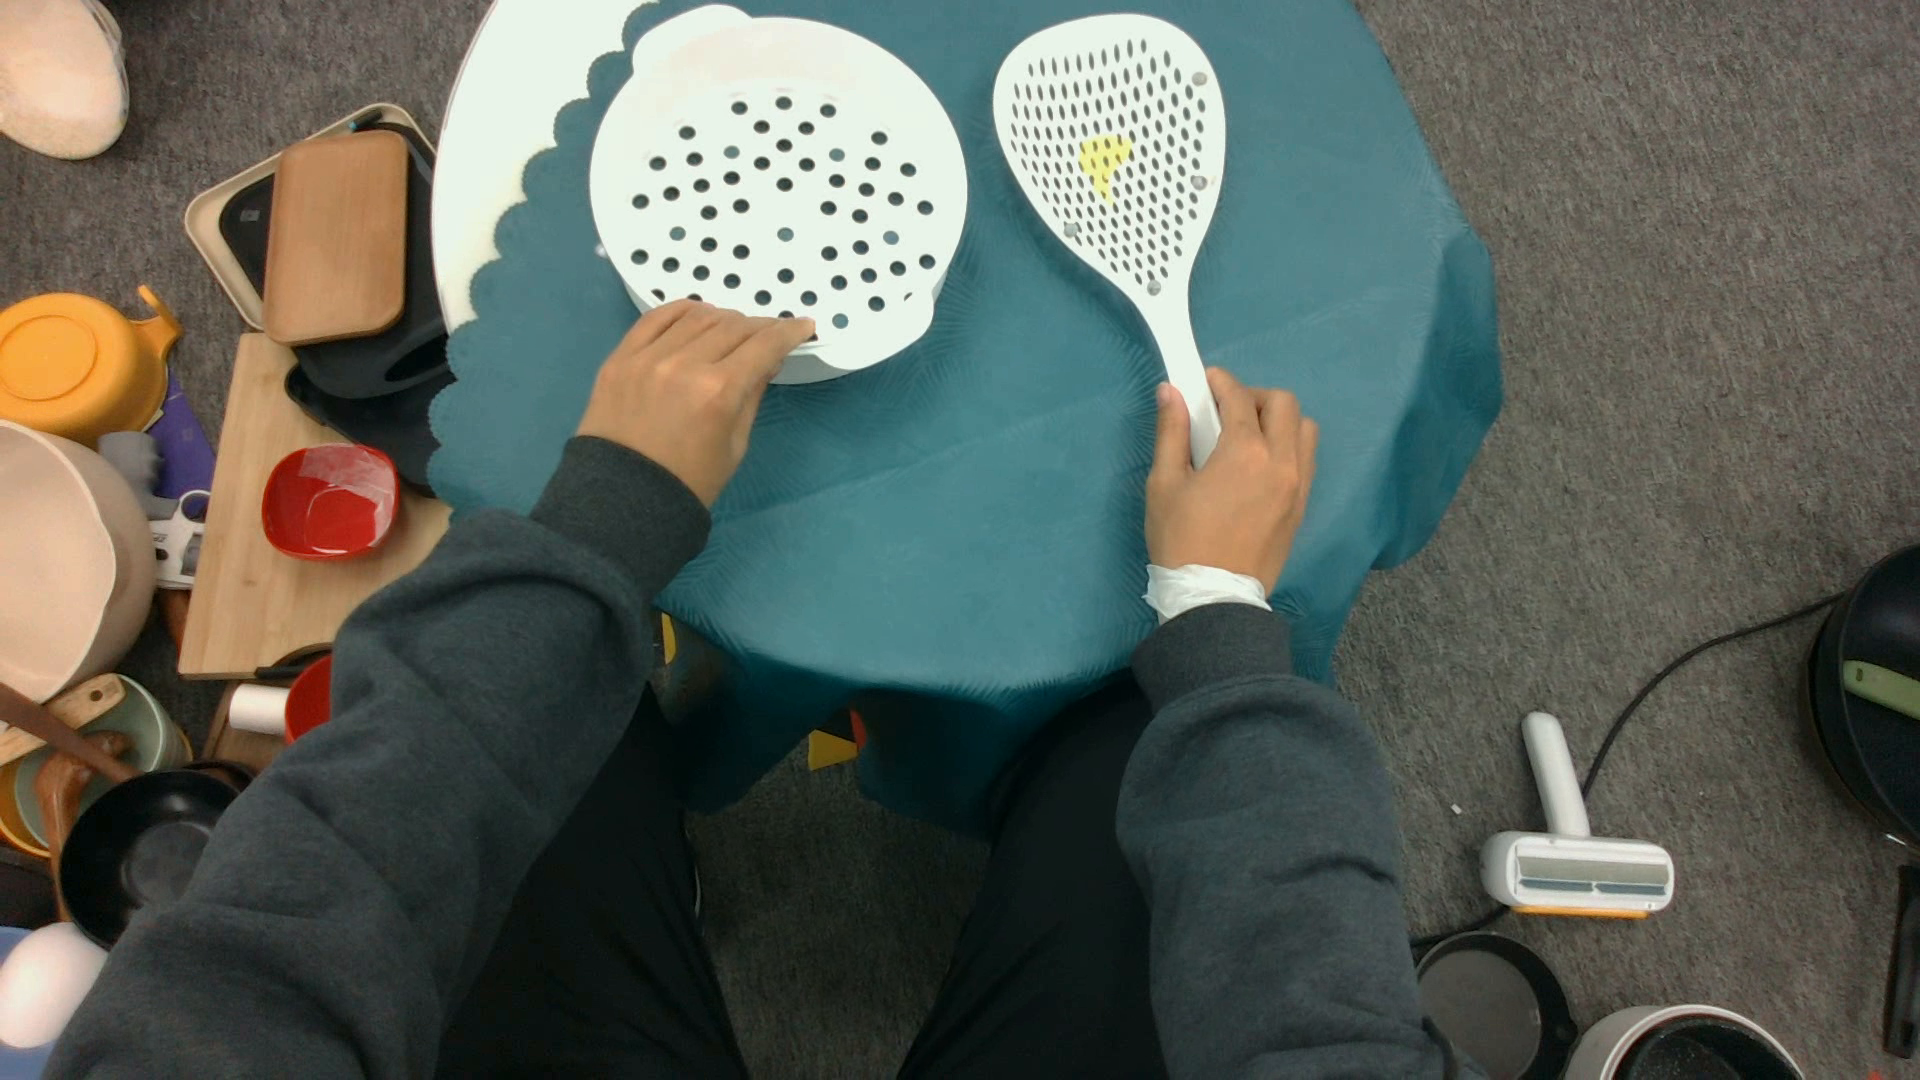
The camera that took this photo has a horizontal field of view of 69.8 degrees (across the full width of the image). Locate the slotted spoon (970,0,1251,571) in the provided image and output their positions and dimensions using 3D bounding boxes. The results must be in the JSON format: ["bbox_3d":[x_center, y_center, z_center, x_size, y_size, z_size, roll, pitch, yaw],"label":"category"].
[{"bbox_3d":[0.104,-0.149,0.798,0.137,0.050,0.348,-15,77,-9],"label":"slotted spoon"}]

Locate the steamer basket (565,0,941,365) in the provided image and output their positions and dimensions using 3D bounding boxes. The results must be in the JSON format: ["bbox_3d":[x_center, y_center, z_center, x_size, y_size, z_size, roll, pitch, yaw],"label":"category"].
[{"bbox_3d":[-0.113,-0.196,0.771,0.202,0.069,0.231,-31,78,-13],"label":"steamer basket"}]
